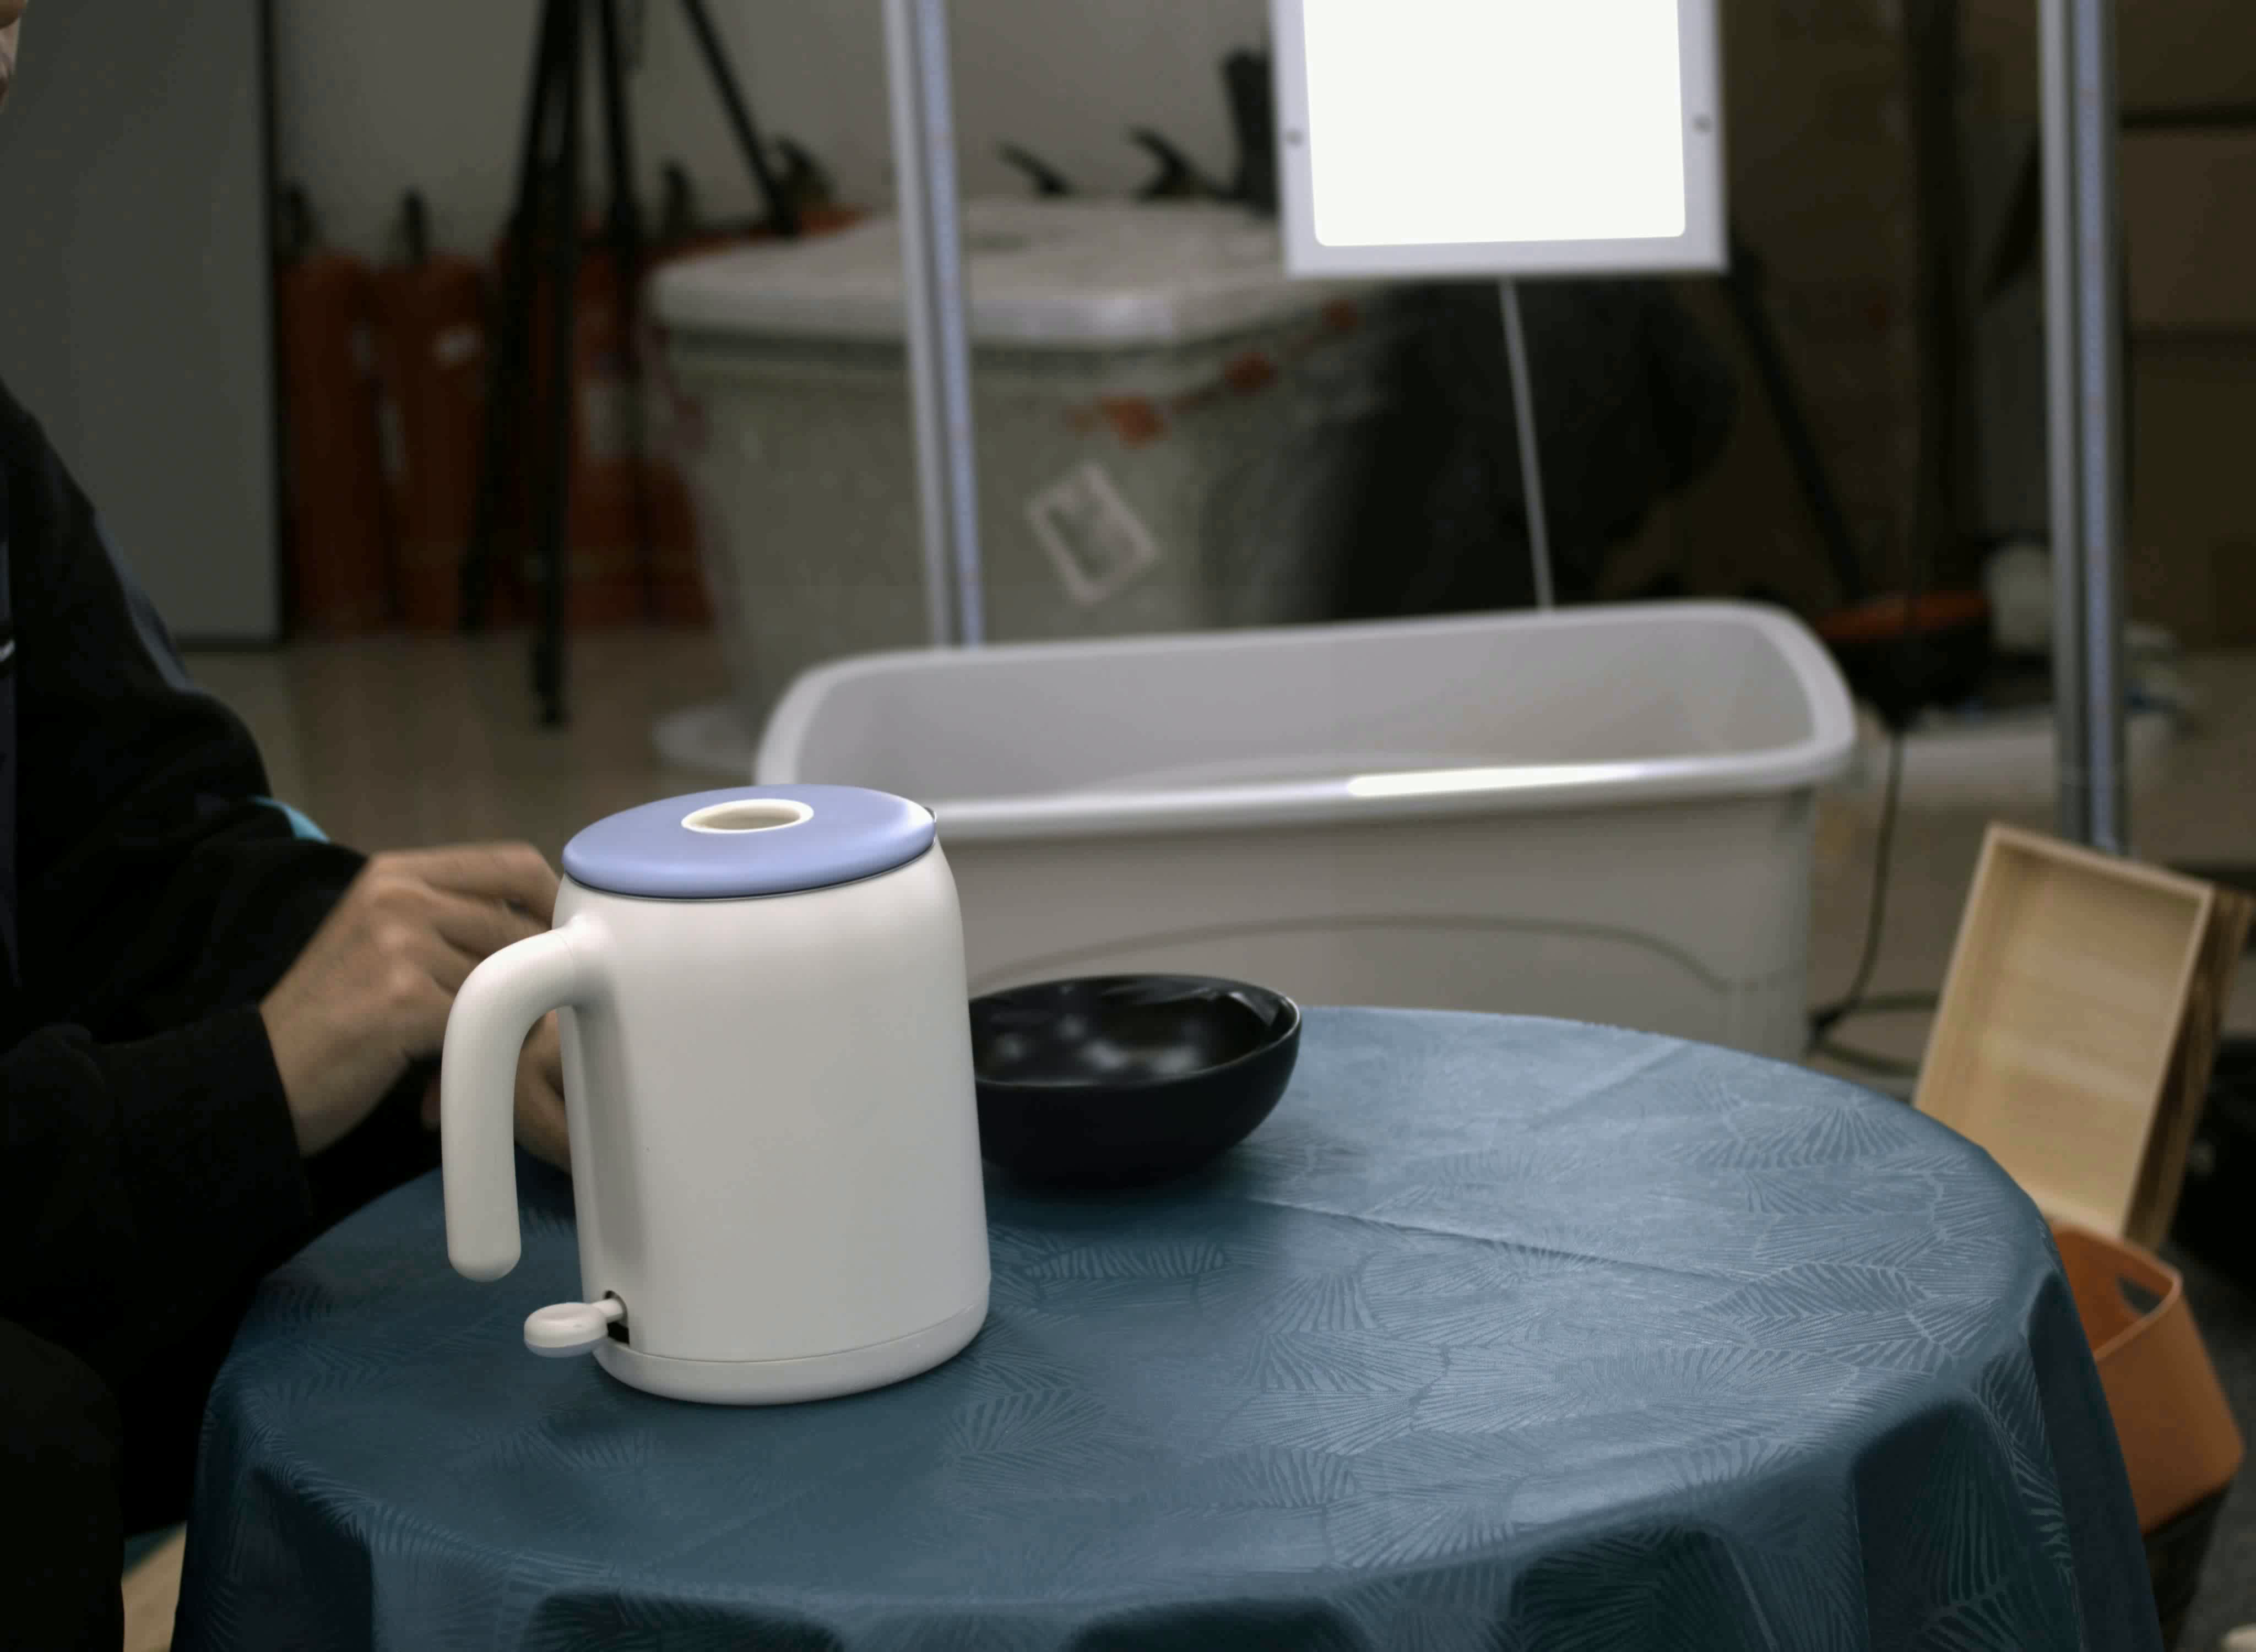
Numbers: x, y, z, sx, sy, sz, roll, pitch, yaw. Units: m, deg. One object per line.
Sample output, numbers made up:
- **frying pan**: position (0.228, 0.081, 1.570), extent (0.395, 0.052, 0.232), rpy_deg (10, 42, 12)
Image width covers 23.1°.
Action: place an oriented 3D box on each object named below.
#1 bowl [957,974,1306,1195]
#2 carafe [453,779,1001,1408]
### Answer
- **bowl**: position (-0.005, 0.094, 1.927), extent (0.140, 0.050, 0.140), rpy_deg (-7, 14, 0)
- **carafe**: position (-0.131, 0.090, 1.737), extent (0.186, 0.183, 0.135), rpy_deg (-18, 17, -34)
